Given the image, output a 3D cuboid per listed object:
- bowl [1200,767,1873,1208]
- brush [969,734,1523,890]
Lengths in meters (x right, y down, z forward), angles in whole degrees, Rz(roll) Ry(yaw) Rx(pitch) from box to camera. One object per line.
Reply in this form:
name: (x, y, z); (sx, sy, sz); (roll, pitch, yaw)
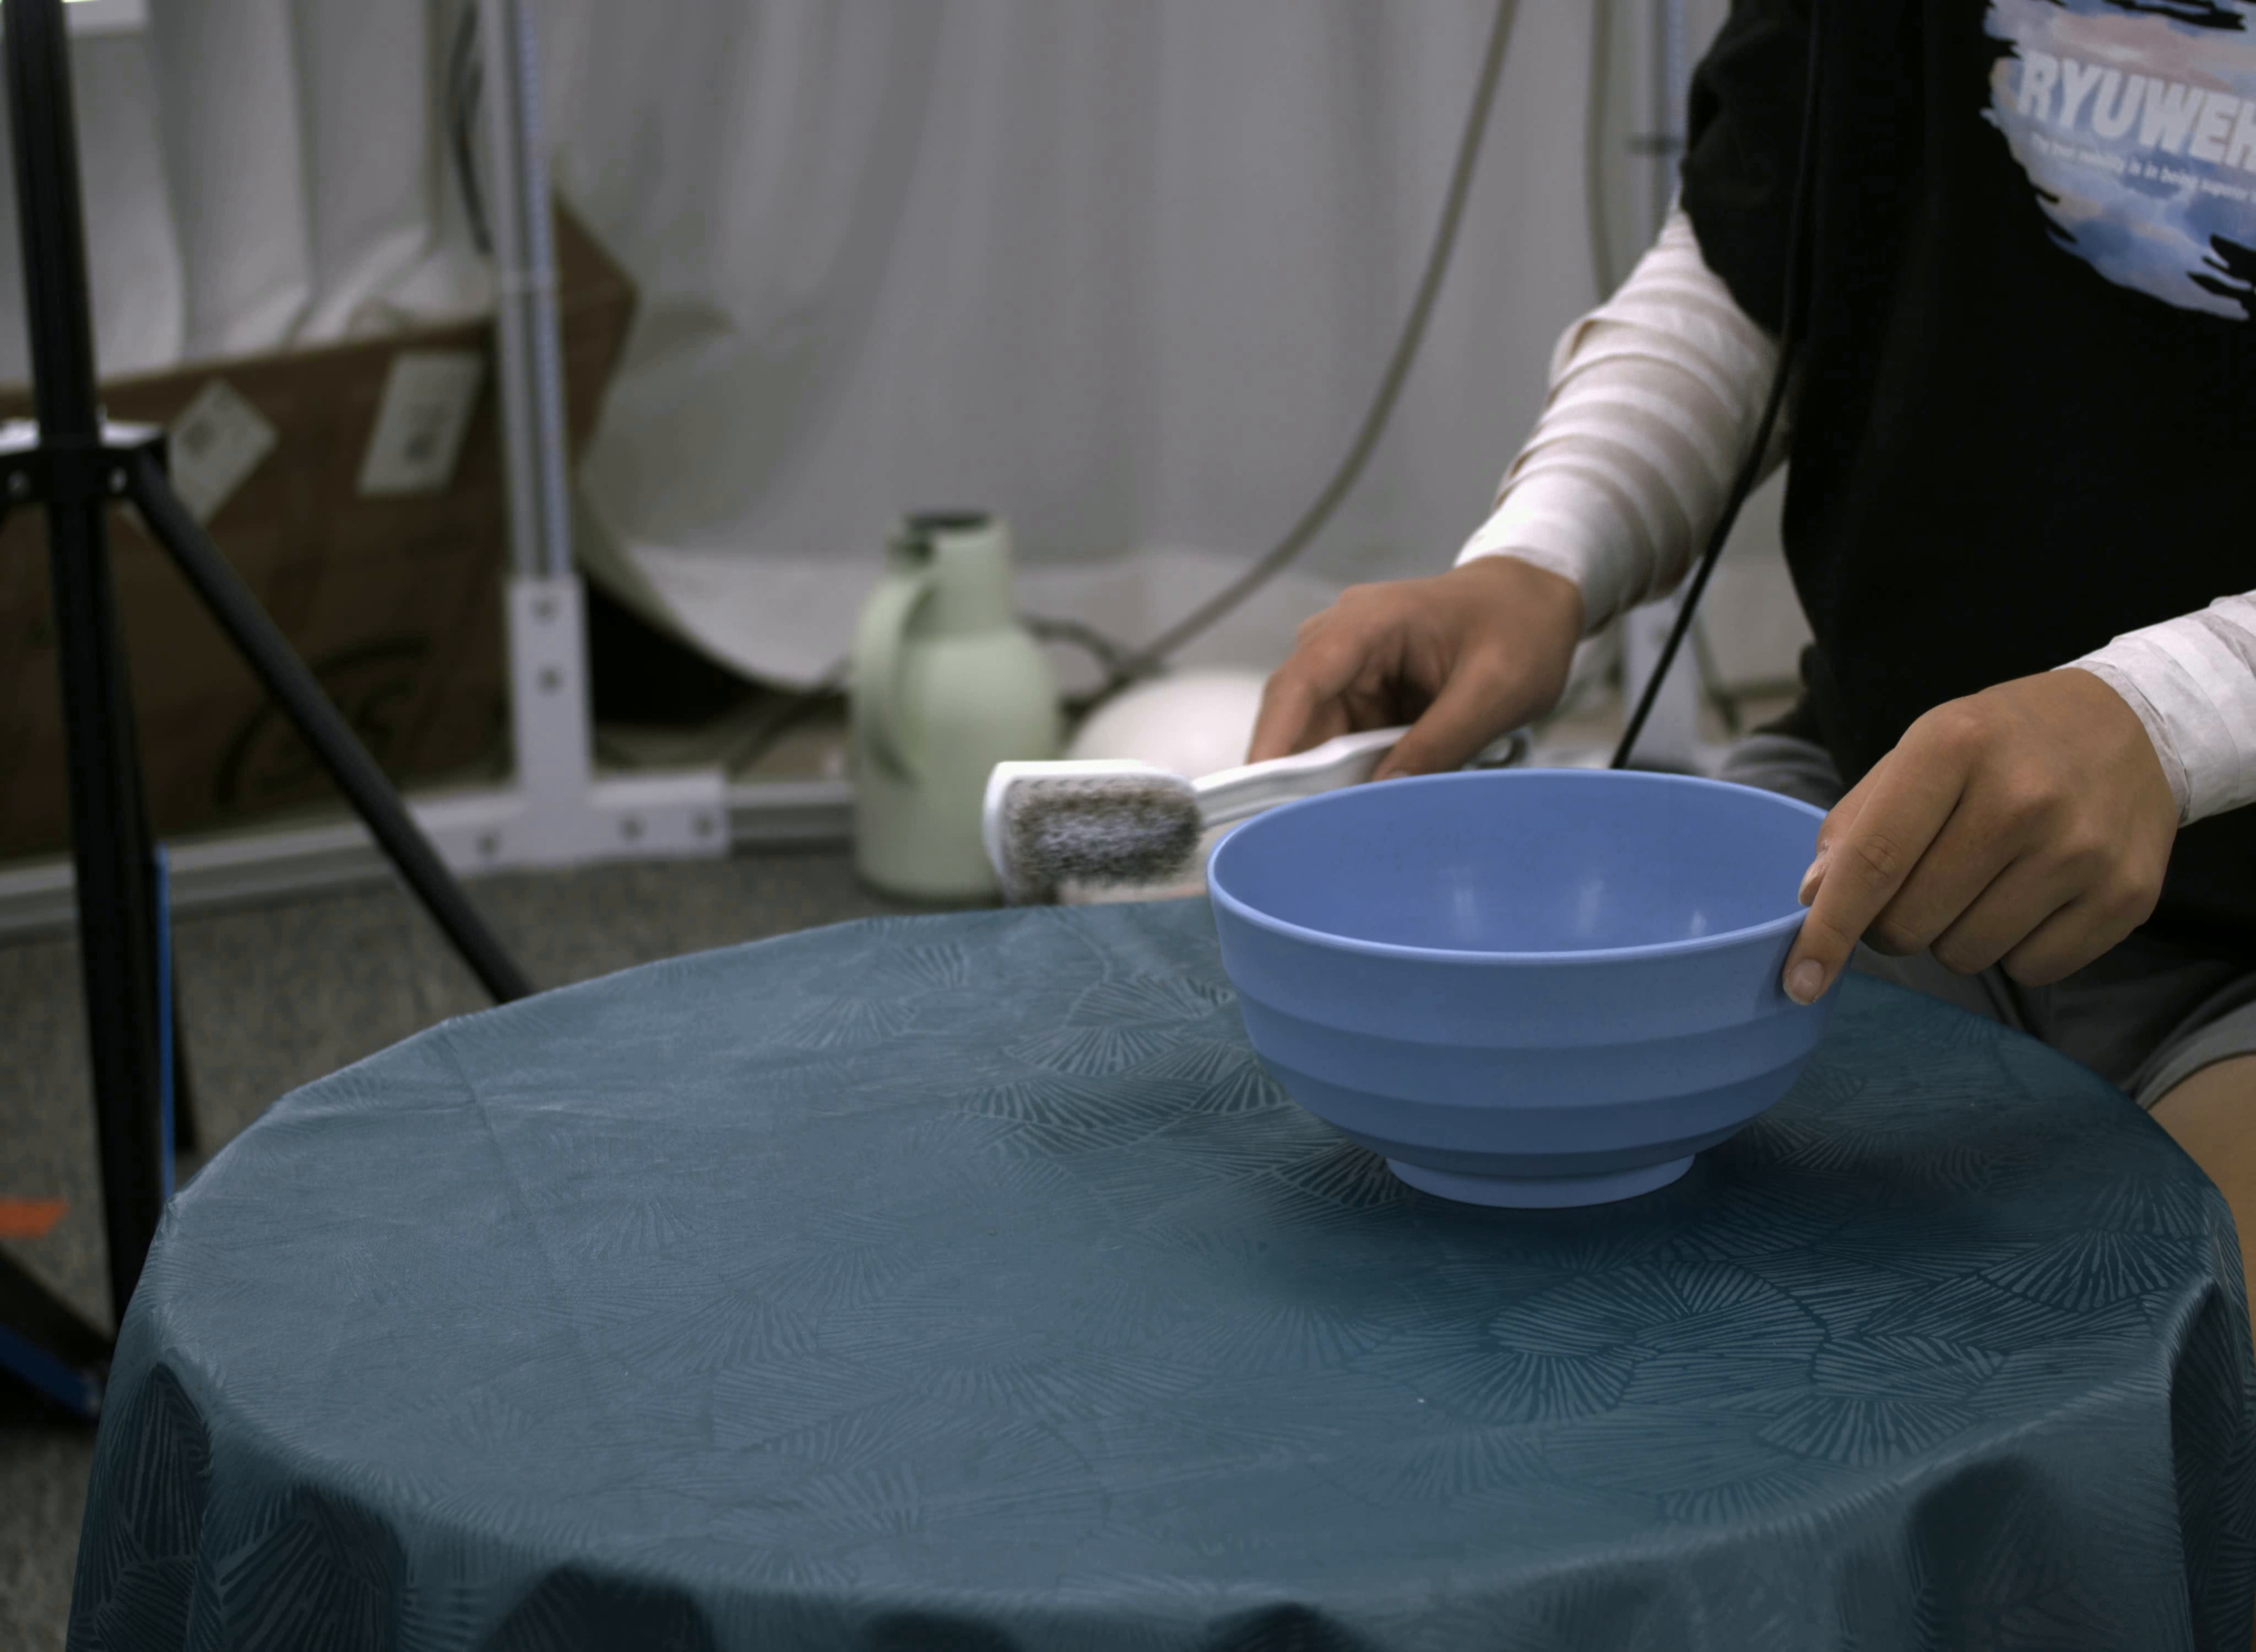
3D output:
bowl: (0.121, 0.053, 1.559); (0.195, 0.095, 0.197); (-4, 16, 0)
brush: (0.050, -0.006, 1.707); (0.237, 0.034, 0.051); (-4, 23, -38)
